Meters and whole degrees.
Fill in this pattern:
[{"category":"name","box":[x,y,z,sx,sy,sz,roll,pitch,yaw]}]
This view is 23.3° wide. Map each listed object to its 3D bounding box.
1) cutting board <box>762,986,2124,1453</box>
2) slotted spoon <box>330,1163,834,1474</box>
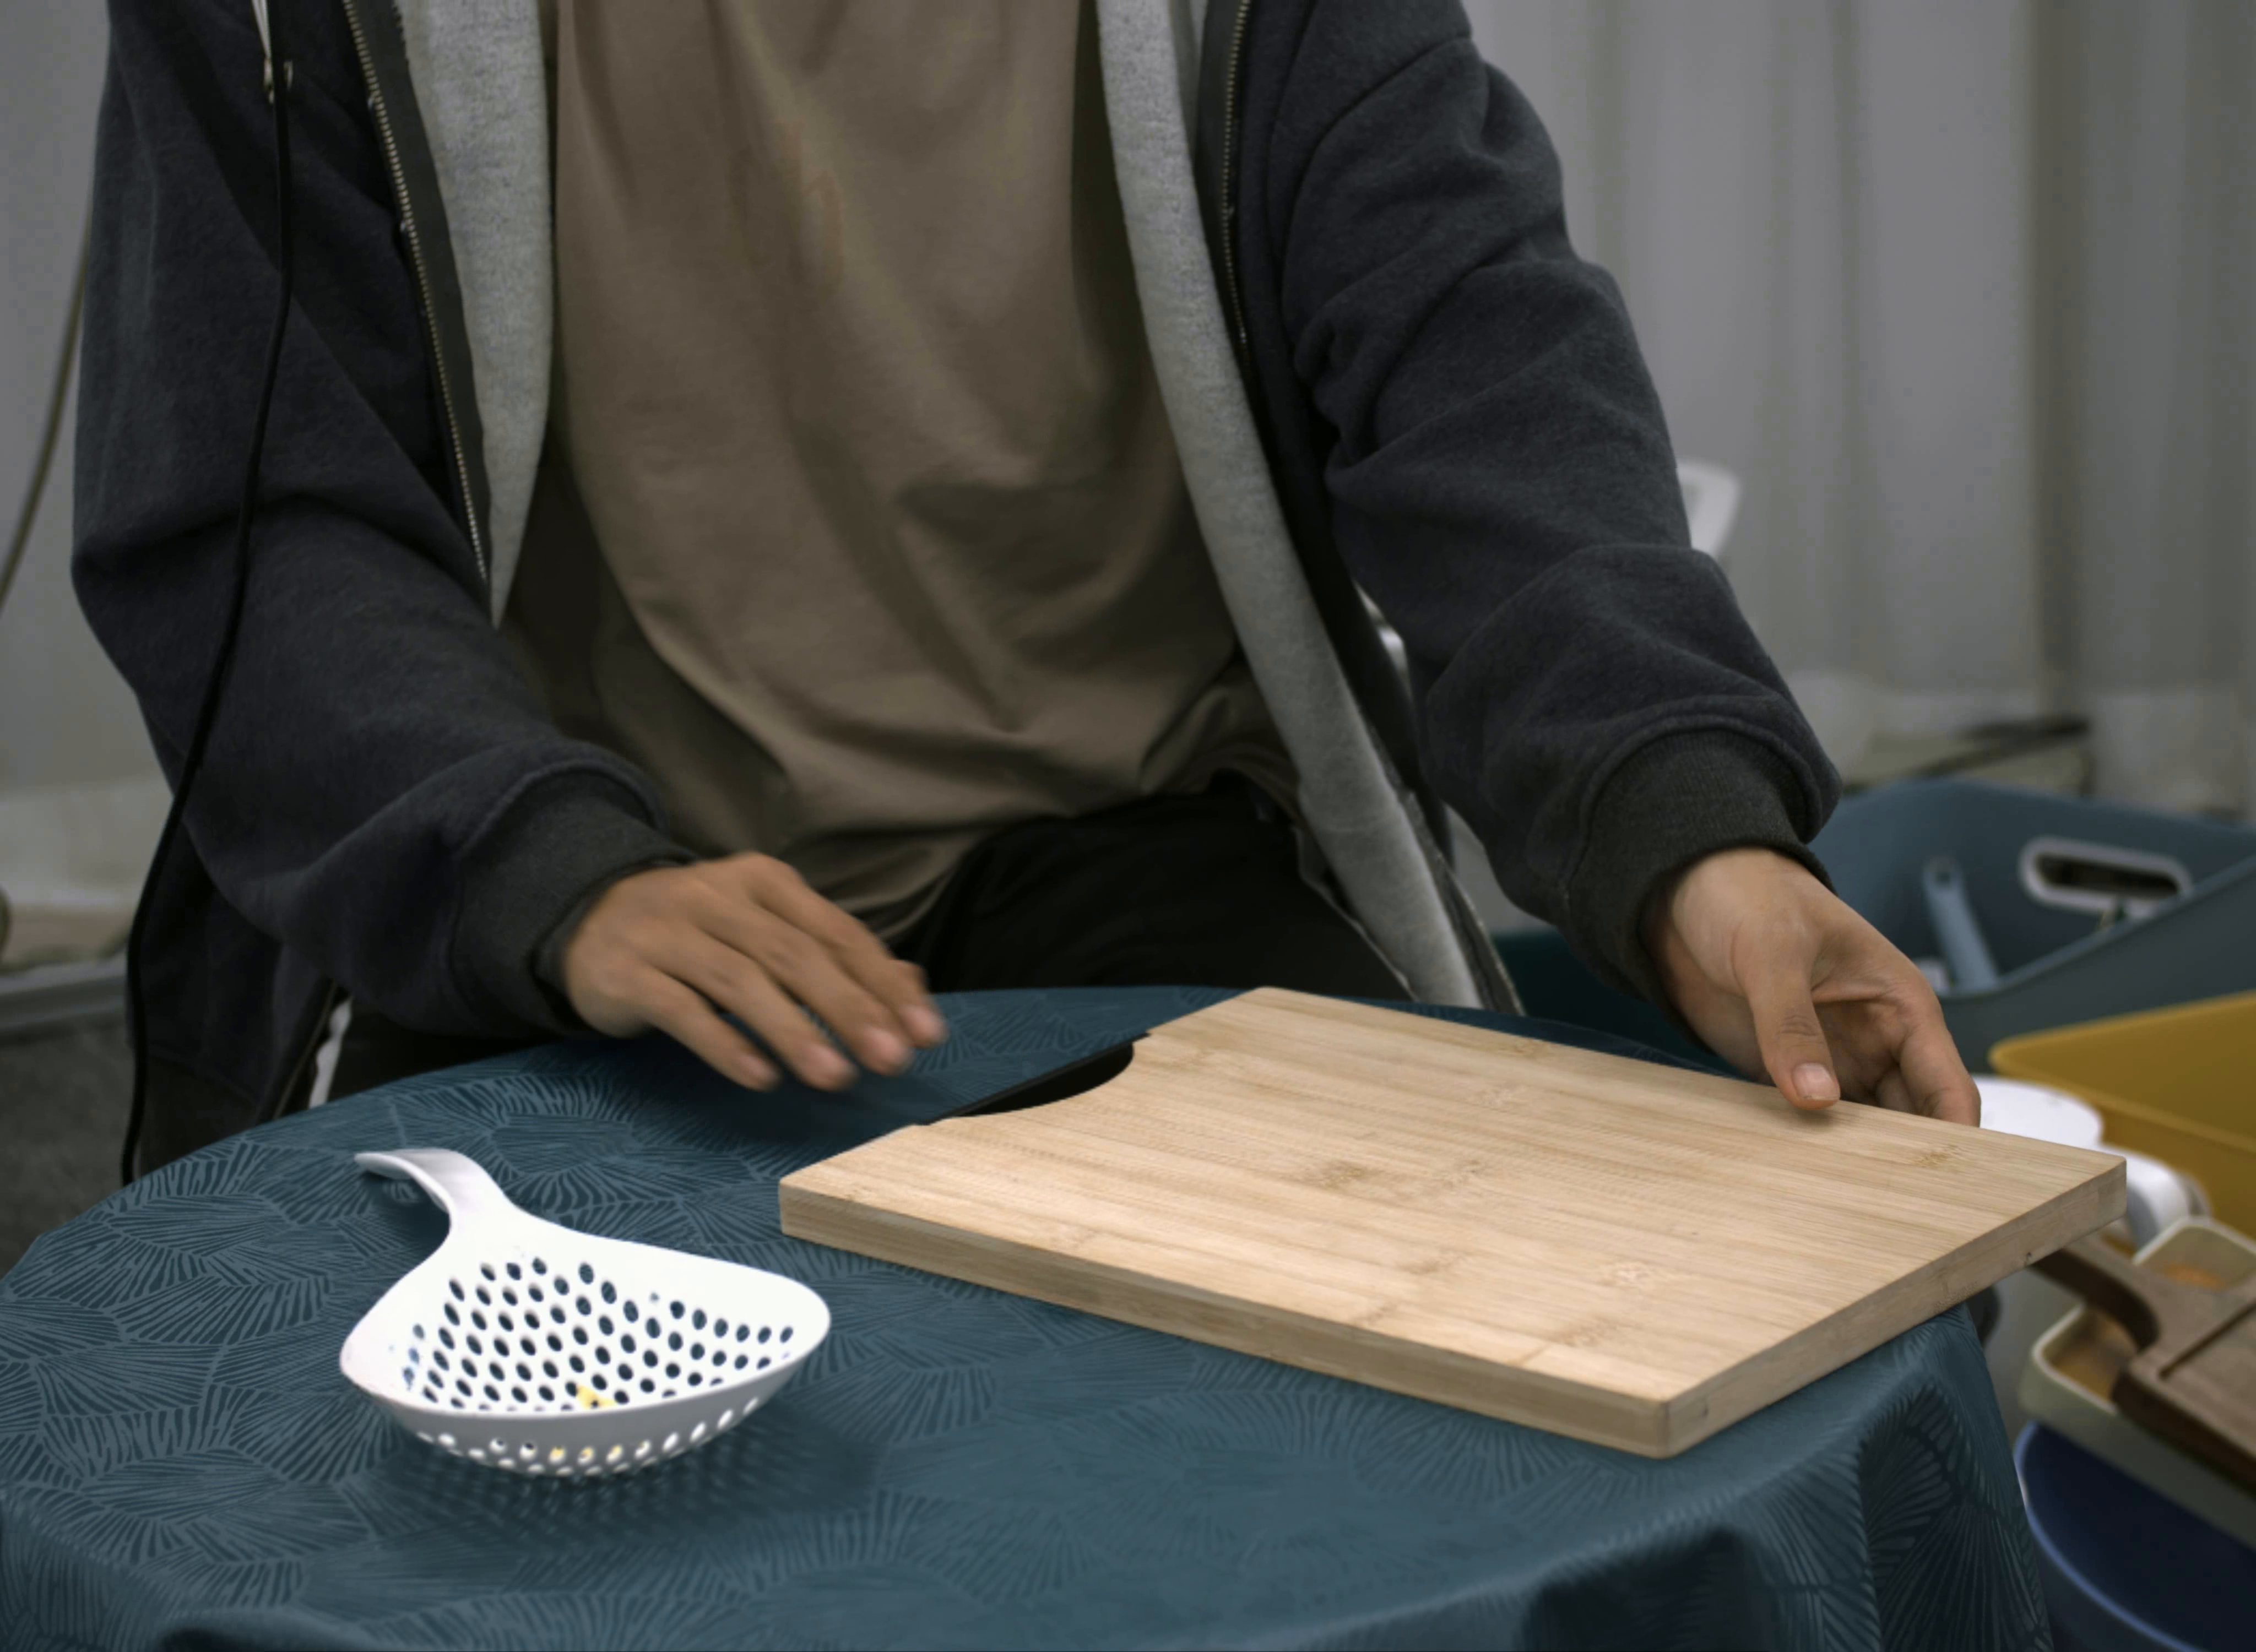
[{"category":"cutting board","box":[0.093,0.113,1.670,0.350,0.023,0.250,10,19,40]},{"category":"slotted spoon","box":[-0.186,0.131,1.612,0.136,0.050,0.351,-10,17,-18]}]
